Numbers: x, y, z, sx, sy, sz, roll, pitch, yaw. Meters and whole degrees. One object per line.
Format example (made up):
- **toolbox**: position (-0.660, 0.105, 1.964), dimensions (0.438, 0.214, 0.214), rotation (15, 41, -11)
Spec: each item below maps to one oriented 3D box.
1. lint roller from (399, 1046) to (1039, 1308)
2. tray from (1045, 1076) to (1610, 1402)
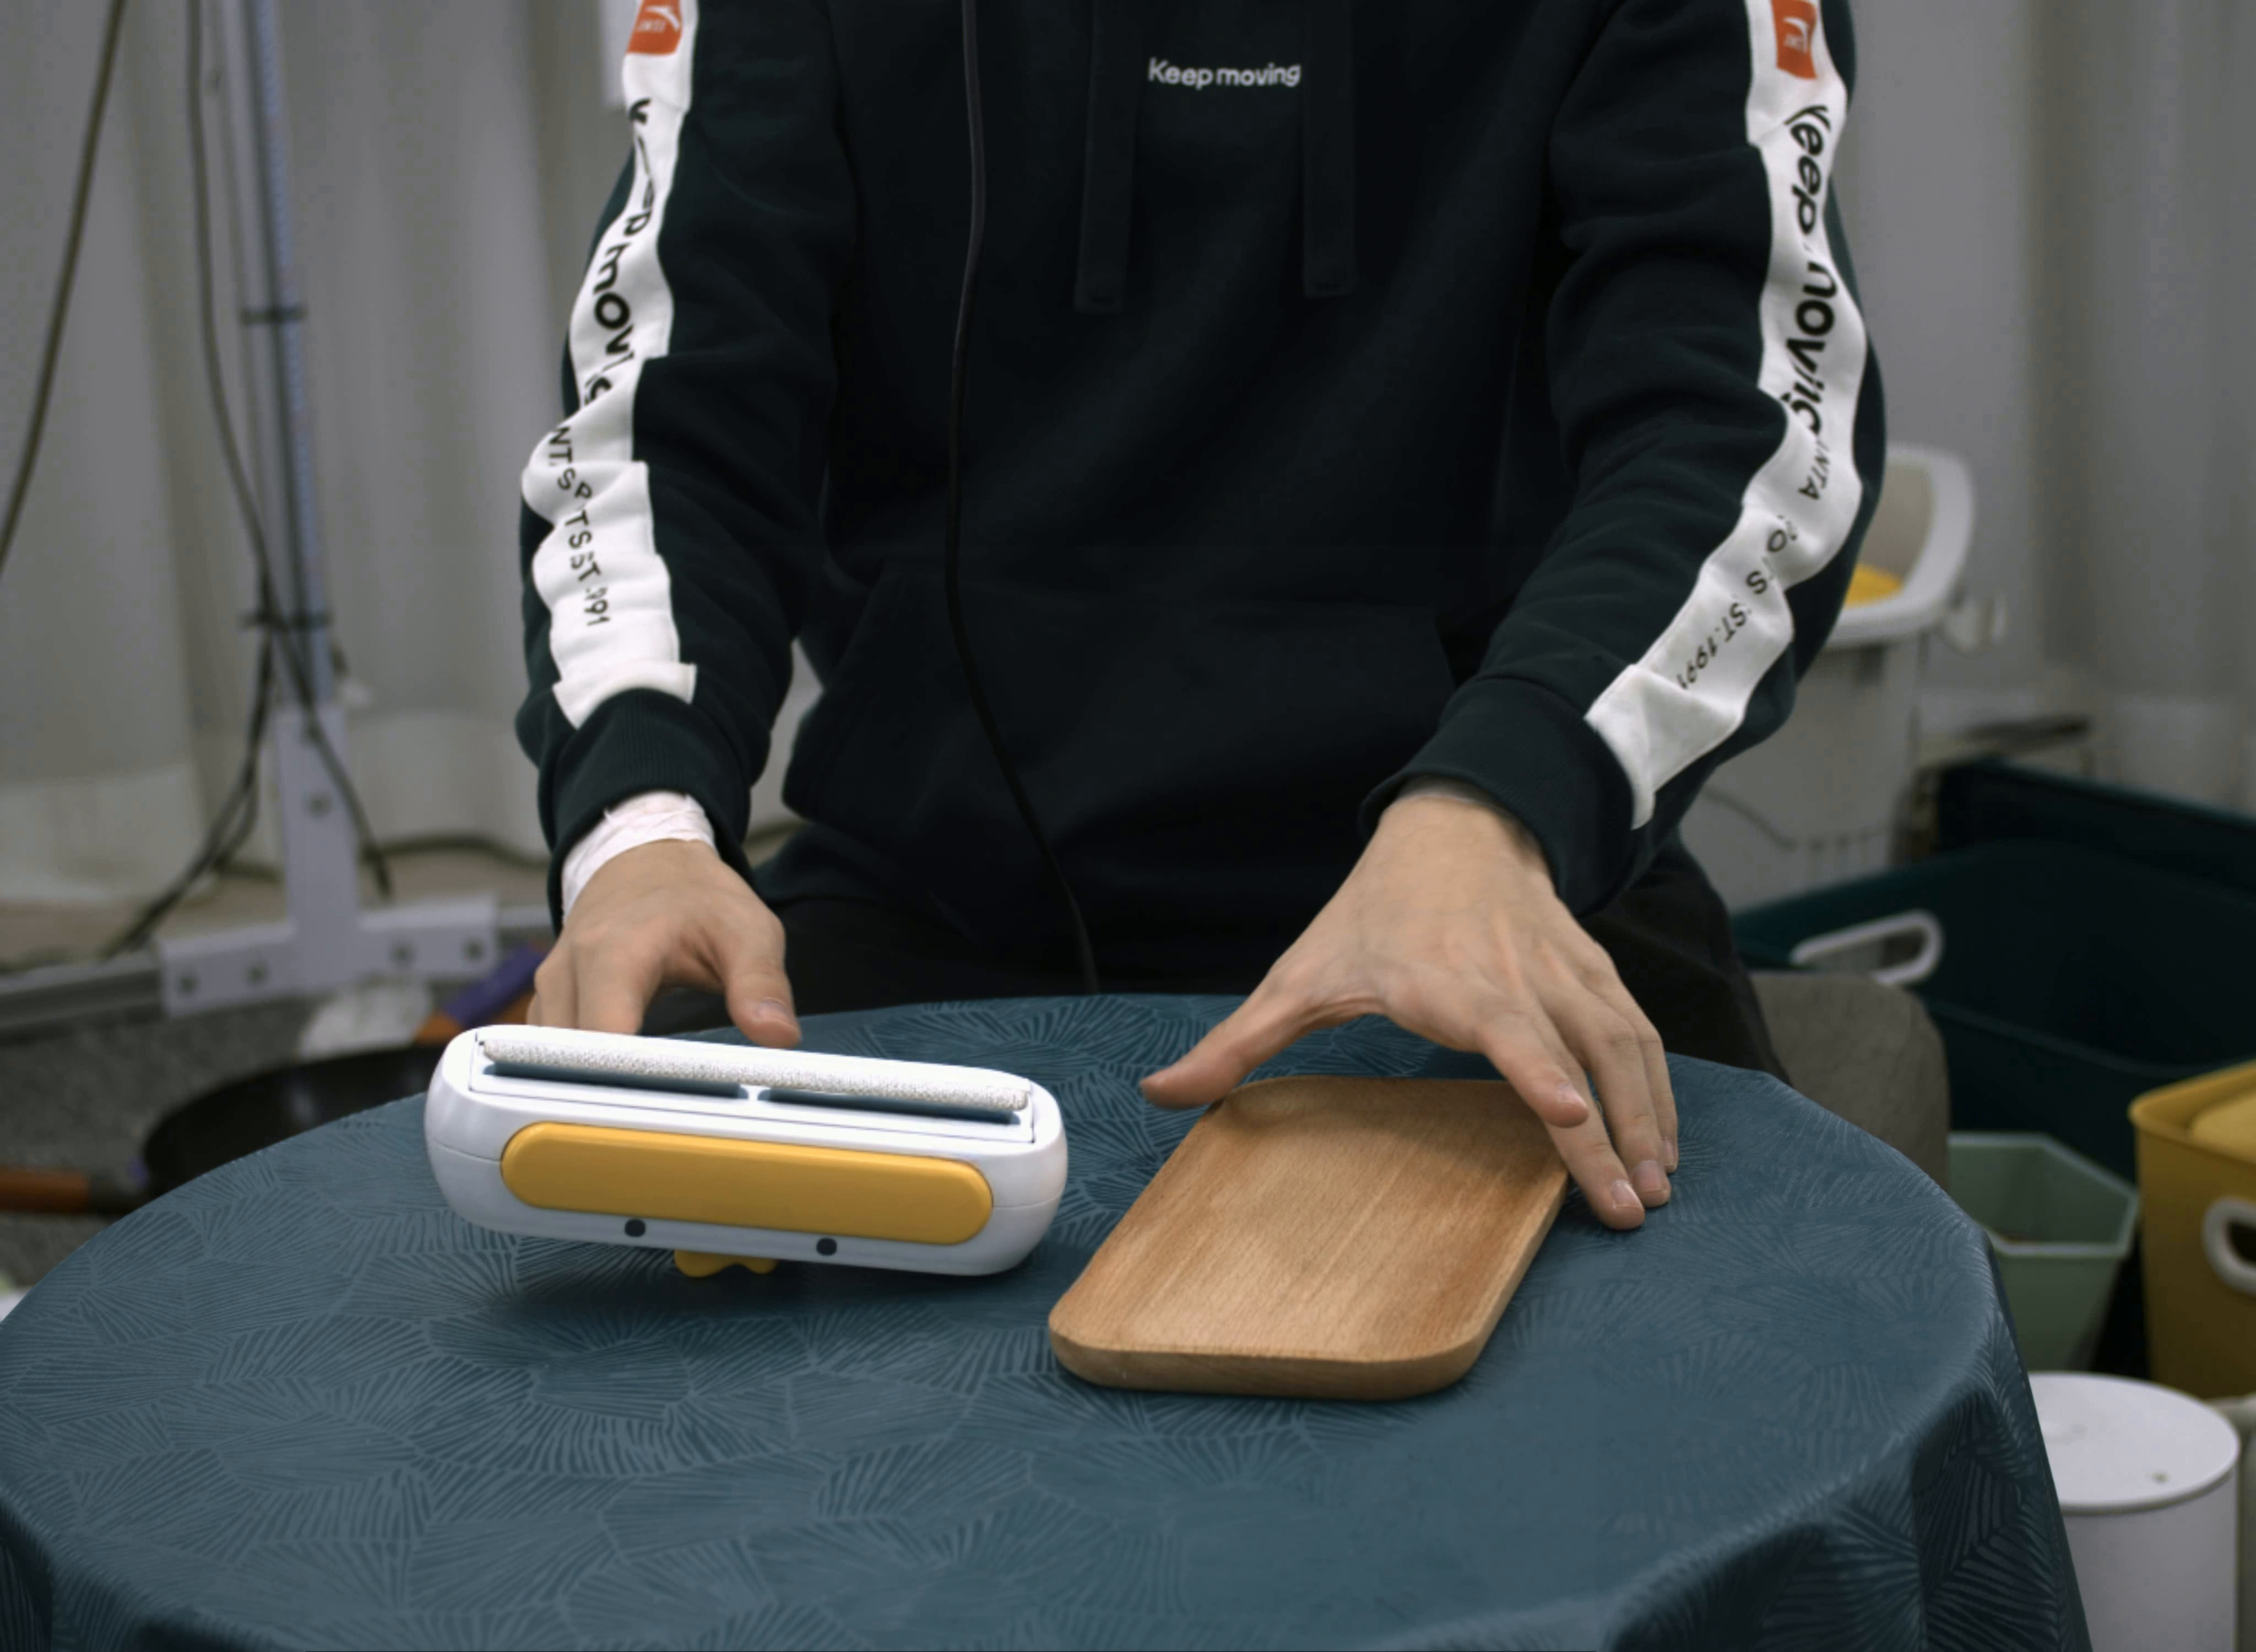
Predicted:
- **lint roller**: position (-0.123, 0.110, 1.700), dimensions (0.192, 0.074, 0.192), rotation (4, 0, 0)
- **tray**: position (0.064, 0.121, 1.645), dimensions (0.130, 0.023, 0.251), rotation (3, 16, 16)
